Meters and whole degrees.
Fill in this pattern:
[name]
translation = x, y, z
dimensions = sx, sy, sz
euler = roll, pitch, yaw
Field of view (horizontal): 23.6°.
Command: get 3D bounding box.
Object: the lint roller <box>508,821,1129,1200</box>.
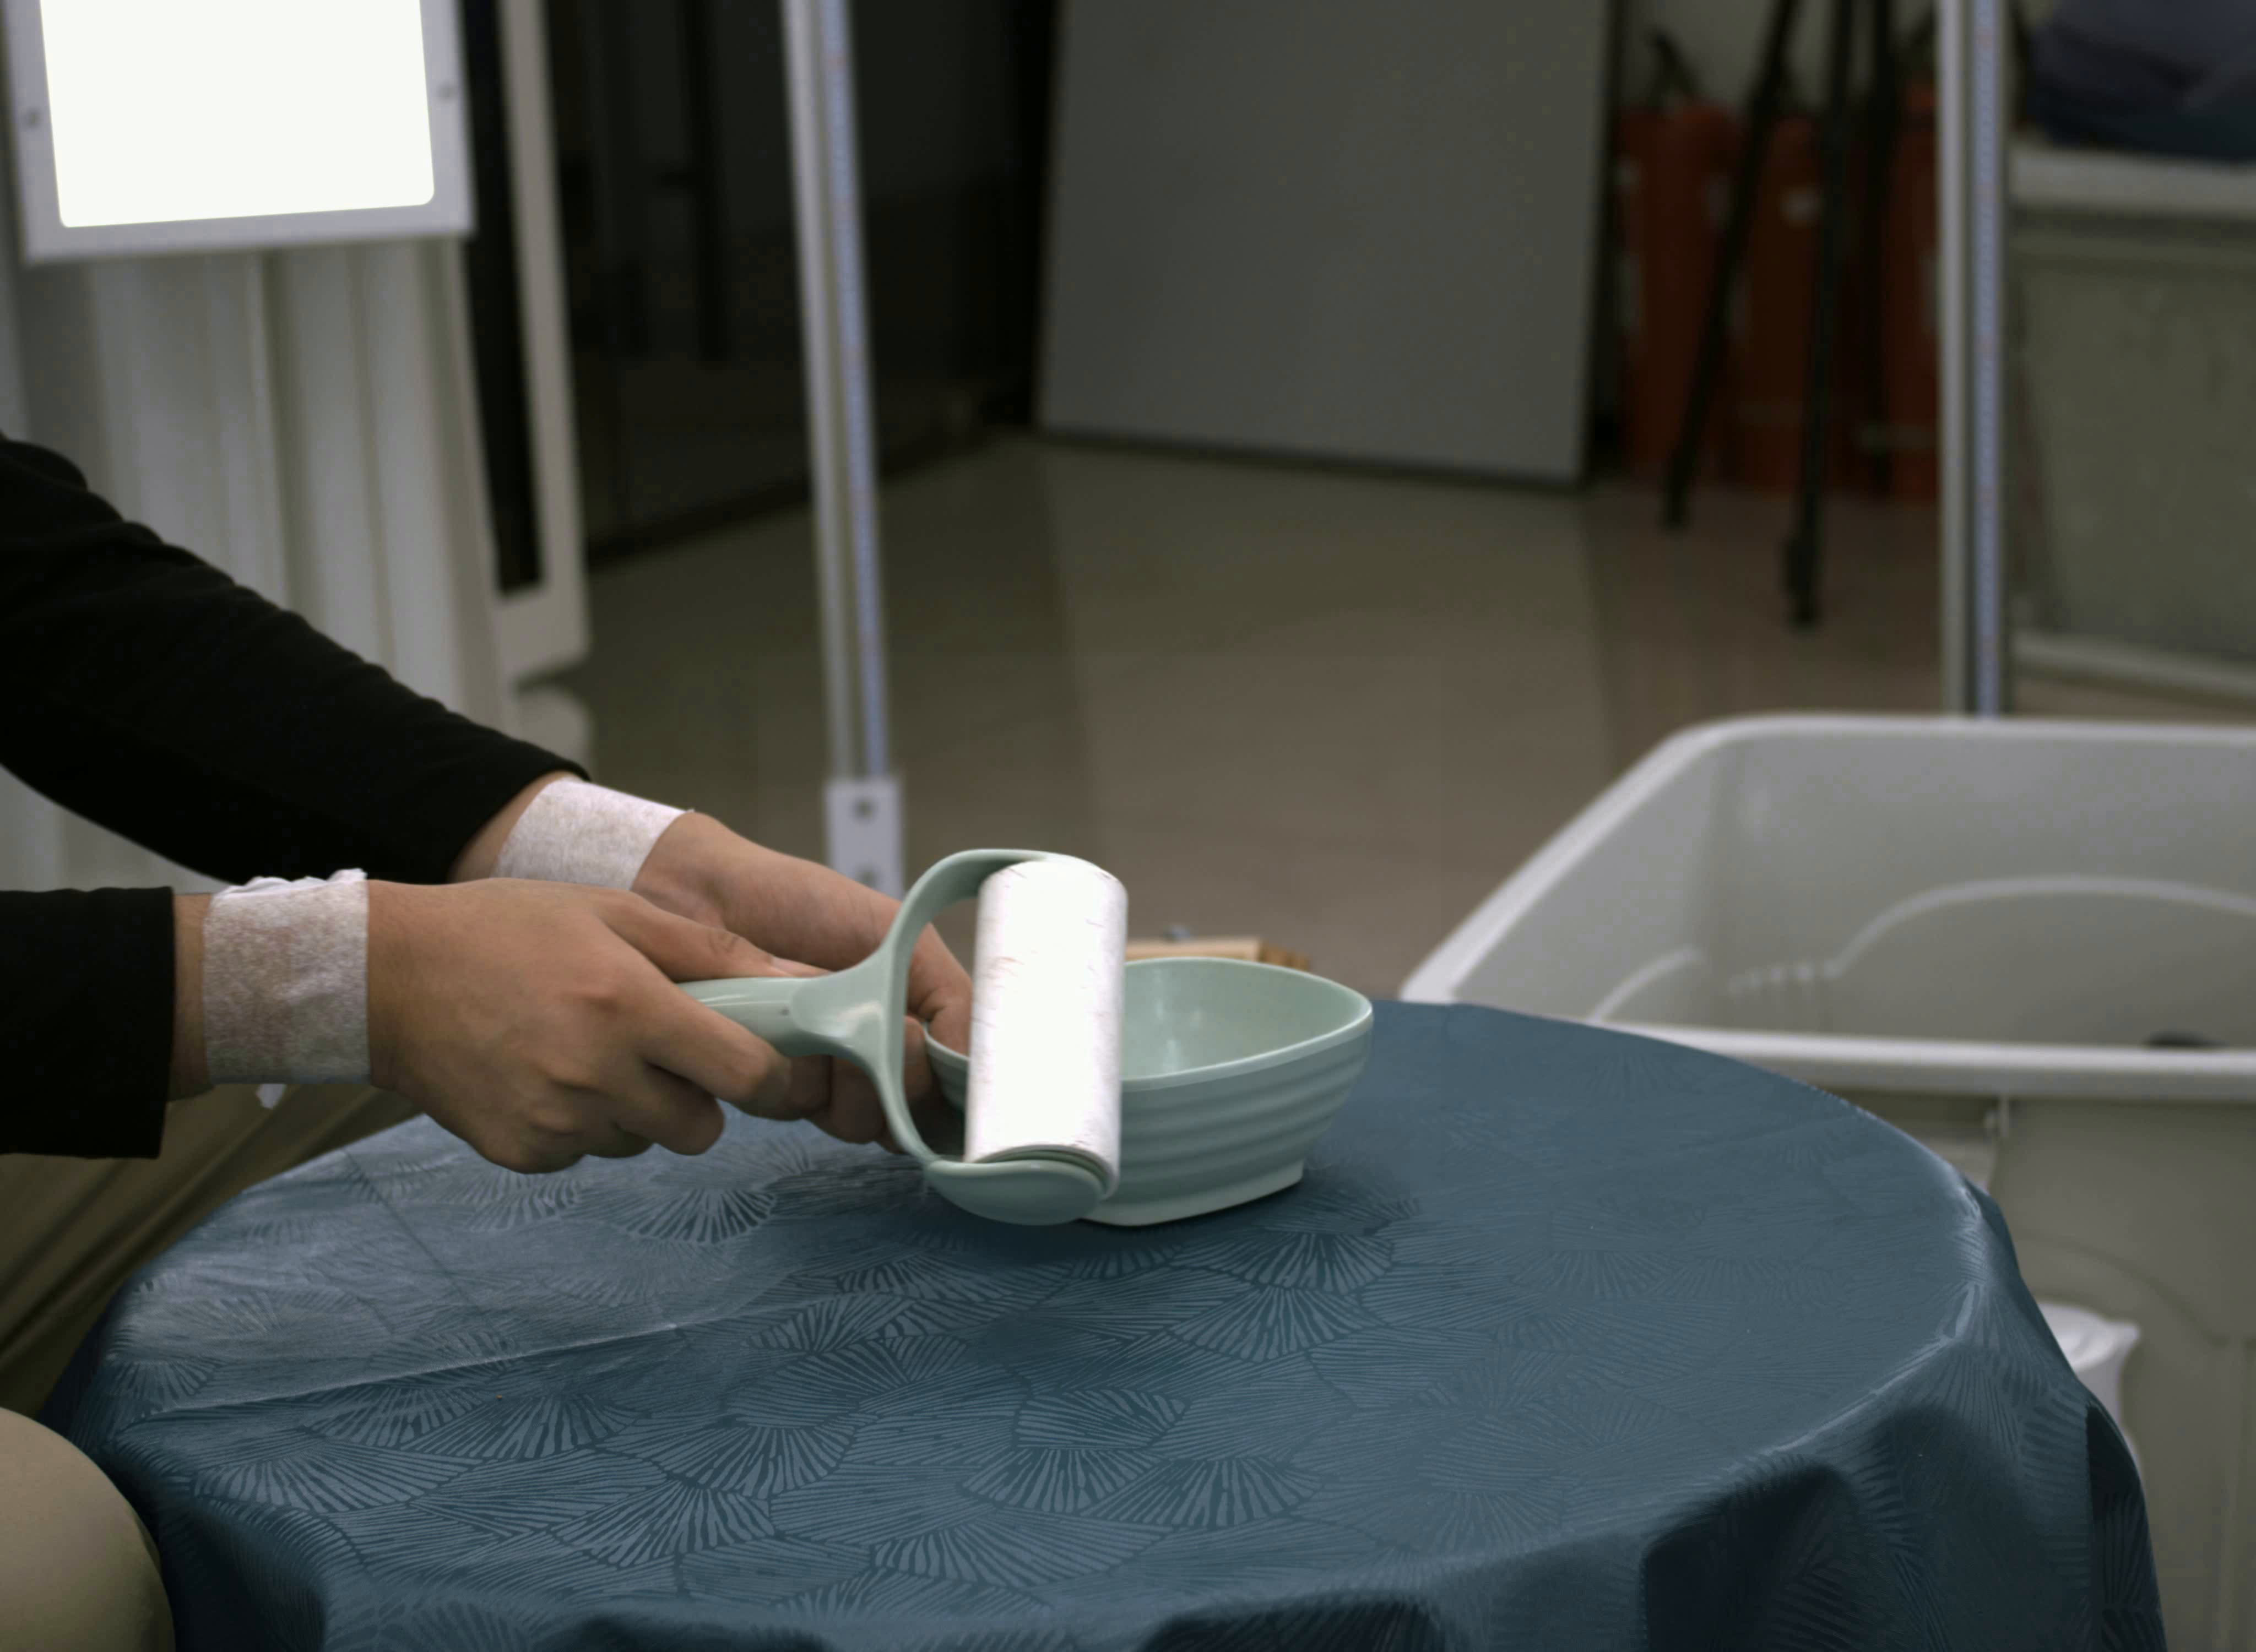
[lint roller]
translation = -0.096, 0.059, 1.665
dimensions = 0.195, 0.118, 0.048
euler = -2, -30, 6

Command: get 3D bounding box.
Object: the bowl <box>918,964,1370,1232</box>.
[bowl]
translation = 0.006, 0.091, 1.767
dimensions = 0.149, 0.059, 0.151
euler = -4, 12, 0
